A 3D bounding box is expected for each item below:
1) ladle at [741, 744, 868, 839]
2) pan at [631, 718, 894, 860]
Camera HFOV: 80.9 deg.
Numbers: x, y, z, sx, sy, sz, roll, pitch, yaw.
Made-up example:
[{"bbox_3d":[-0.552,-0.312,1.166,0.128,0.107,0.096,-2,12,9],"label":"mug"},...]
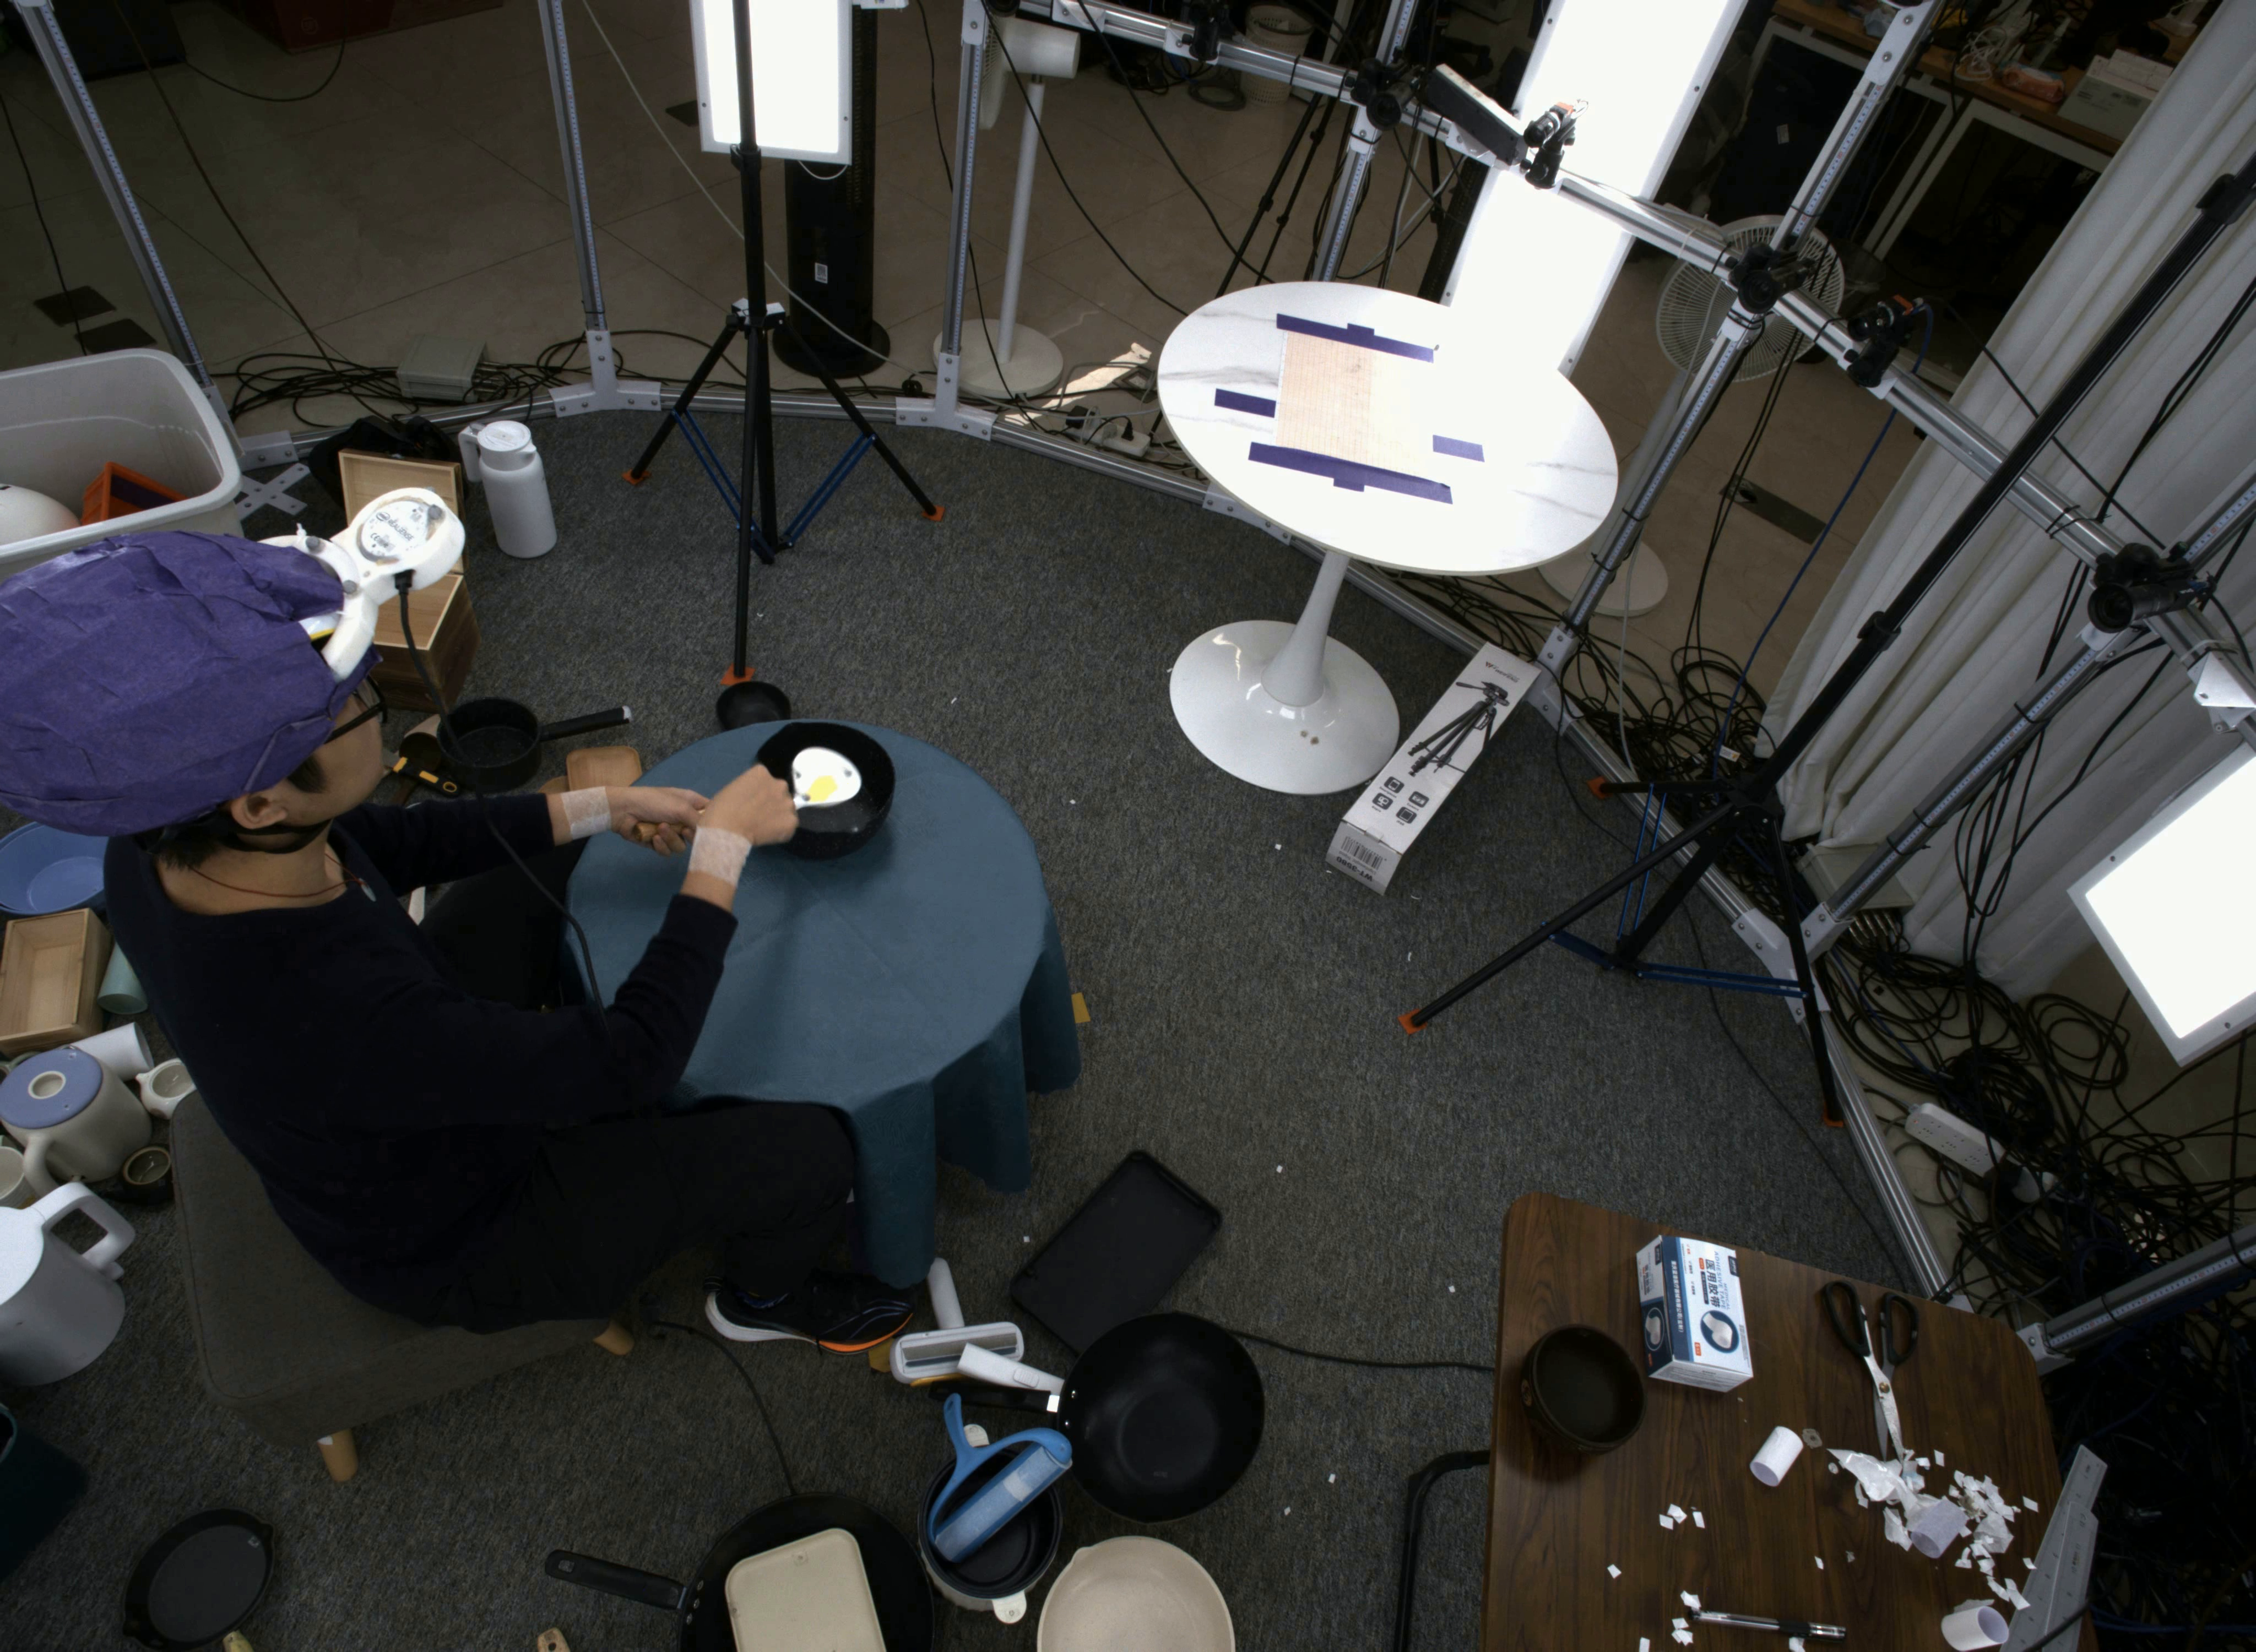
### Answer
[{"bbox_3d":[-0.382,-0.041,1.527,0.091,0.070,0.290,41,9,-4],"label":"ladle"},{"bbox_3d":[-0.462,-0.022,1.645,0.345,0.110,0.203,-23,64,-32],"label":"pan"}]
